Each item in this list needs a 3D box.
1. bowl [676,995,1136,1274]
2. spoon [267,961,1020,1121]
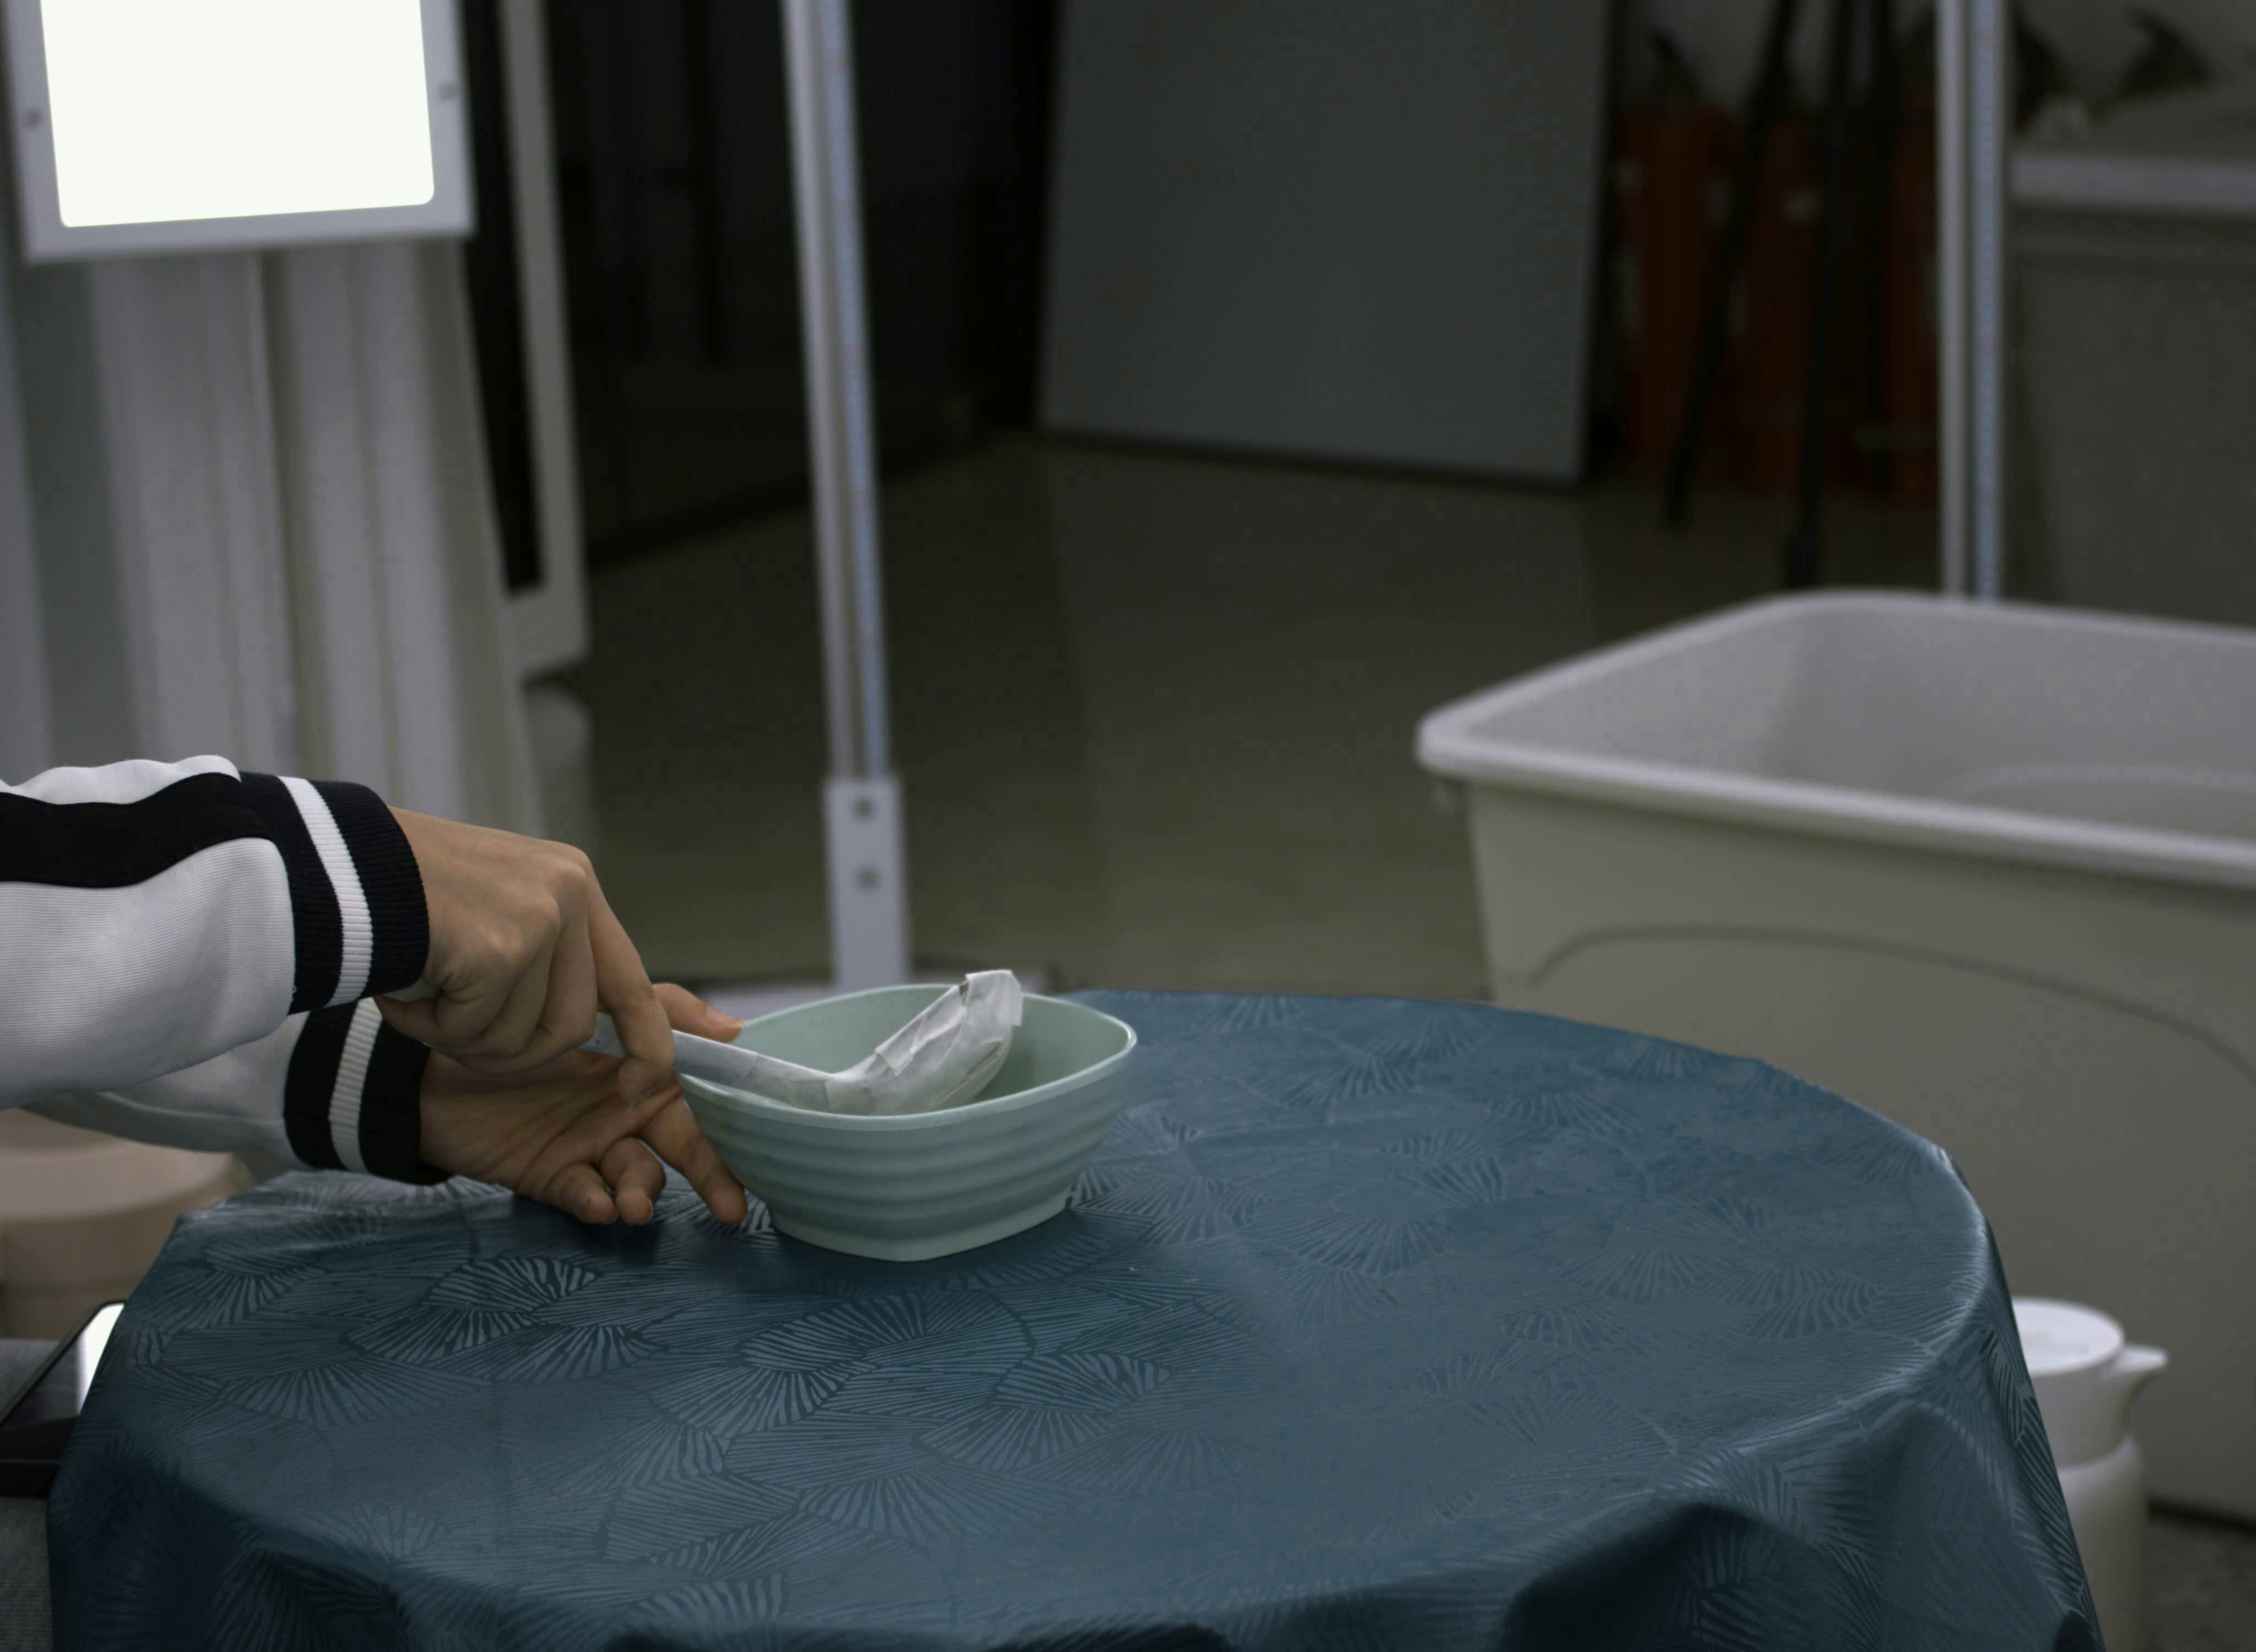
[{"bbox_3d":[-0.071,0.103,1.755,0.149,0.059,0.152,-4,13,0],"label":"bowl"},{"bbox_3d":[-0.152,0.068,1.725,0.271,0.102,0.060,11,31,-29],"label":"spoon"}]
